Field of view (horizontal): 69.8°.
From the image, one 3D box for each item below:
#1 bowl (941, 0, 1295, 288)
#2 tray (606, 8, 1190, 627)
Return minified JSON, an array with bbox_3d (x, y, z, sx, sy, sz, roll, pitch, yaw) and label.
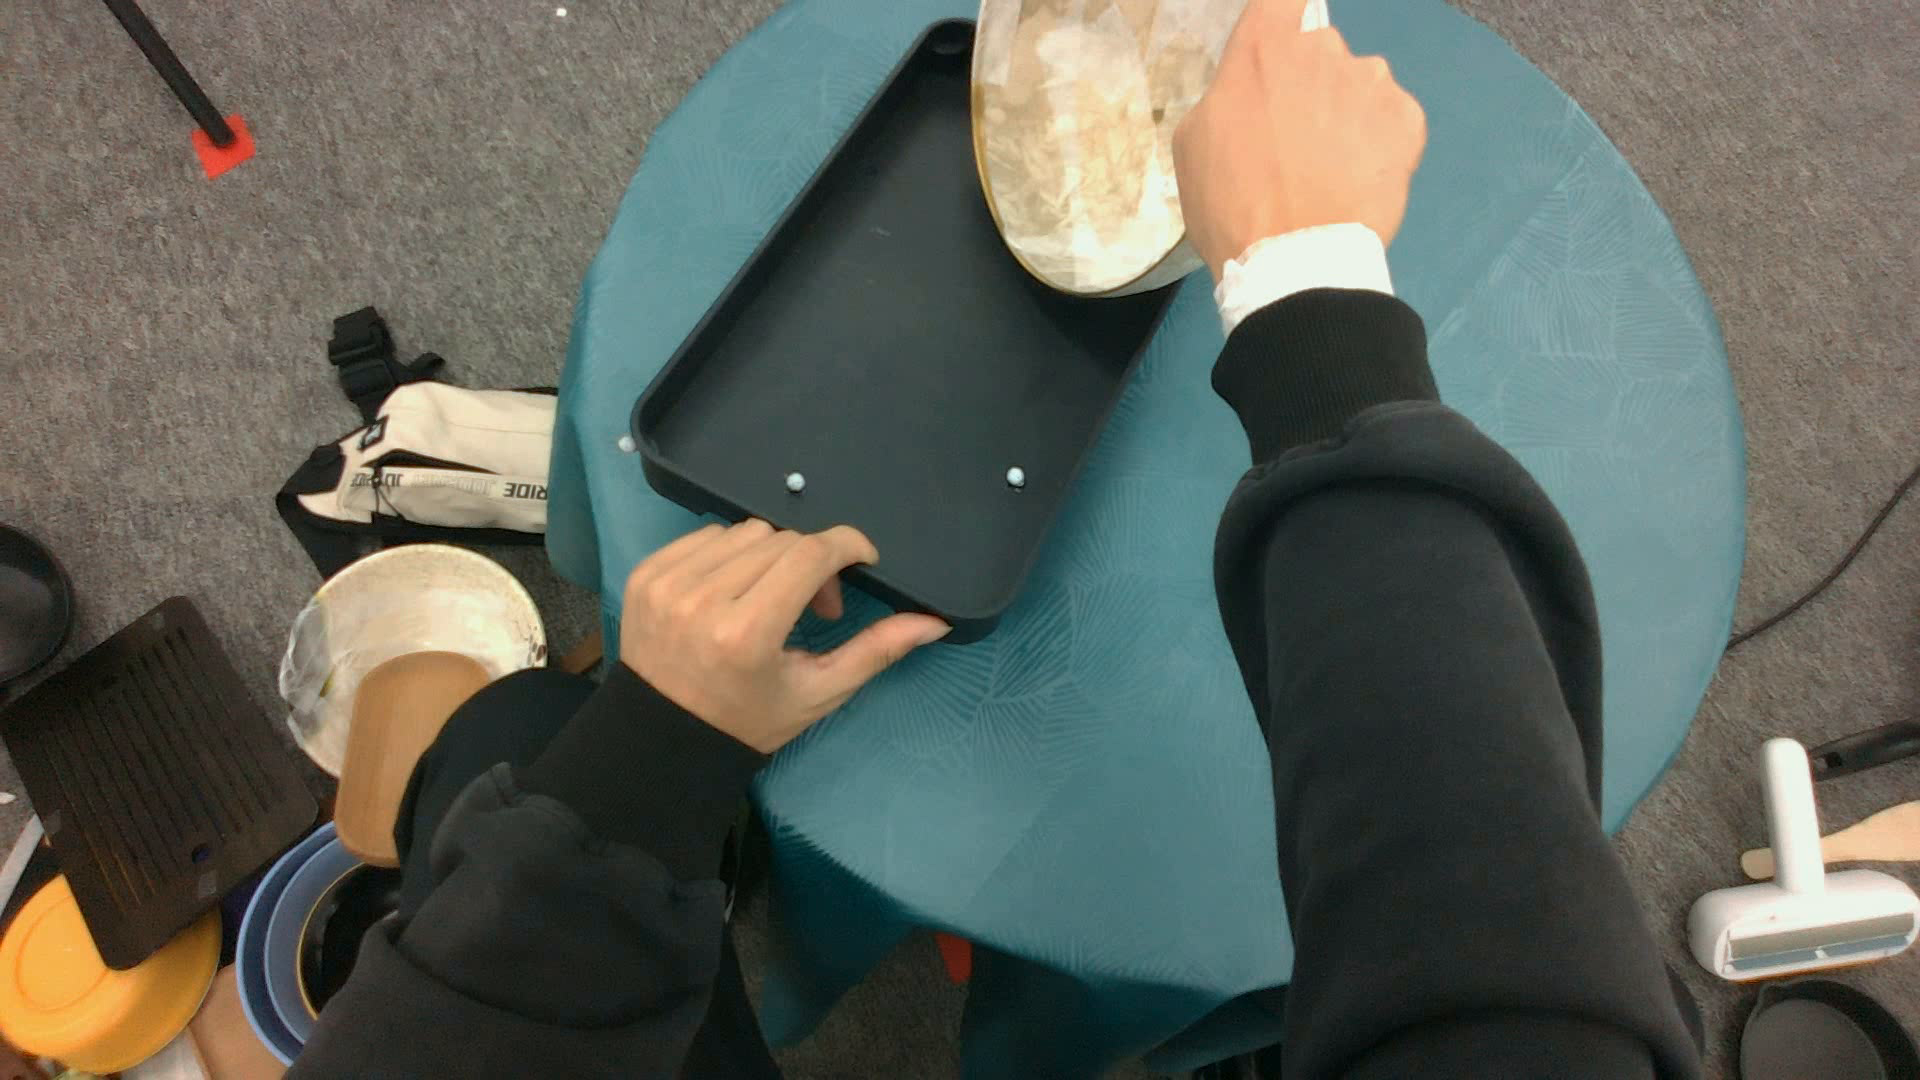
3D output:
[{"bbox_3d":[0.084,-0.218,0.647,0.095,0.213,0.215,-3,67,-36],"label":"bowl"},{"bbox_3d":[-0.009,-0.121,0.660,0.184,0.037,0.319,28,60,6],"label":"tray"}]
